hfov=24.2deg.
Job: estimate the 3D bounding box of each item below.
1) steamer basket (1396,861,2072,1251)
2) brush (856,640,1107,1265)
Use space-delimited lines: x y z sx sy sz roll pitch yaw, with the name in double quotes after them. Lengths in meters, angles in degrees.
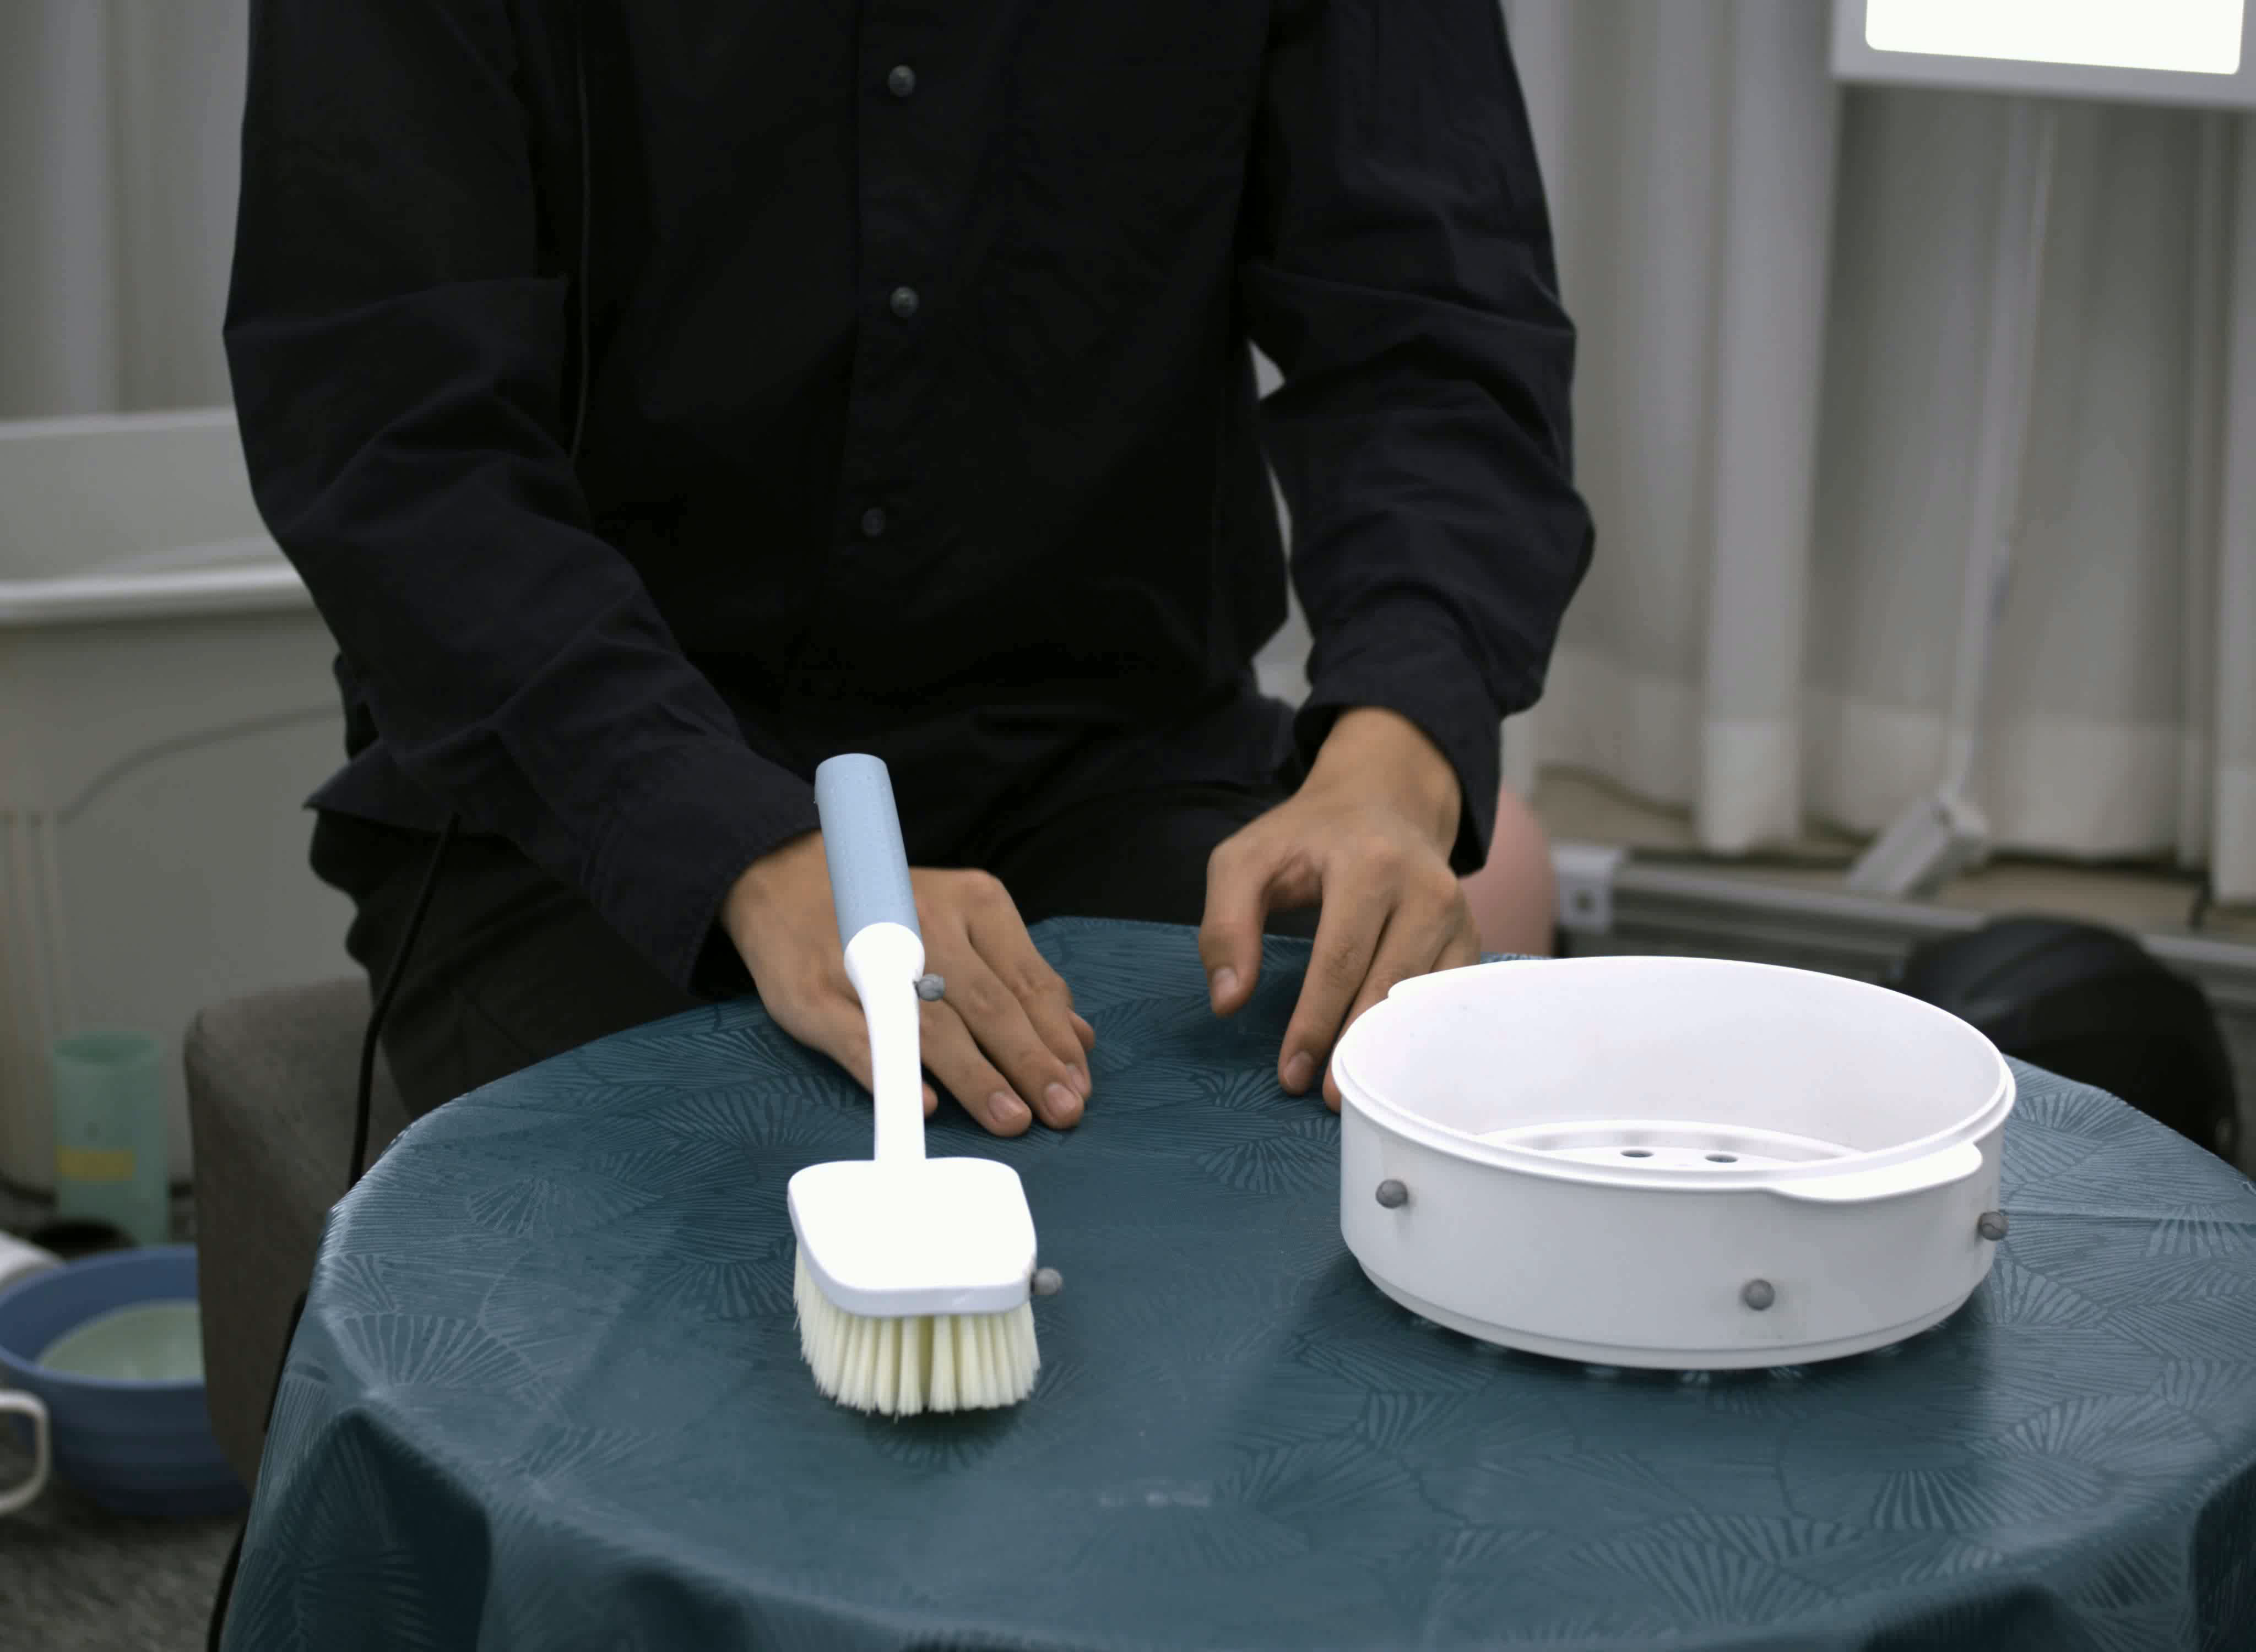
0.180 0.068 1.582 0.203 0.070 0.227 -8 18 -30 "steamer basket"
-0.048 0.050 1.604 0.084 0.084 0.322 34 19 -22 "brush"
